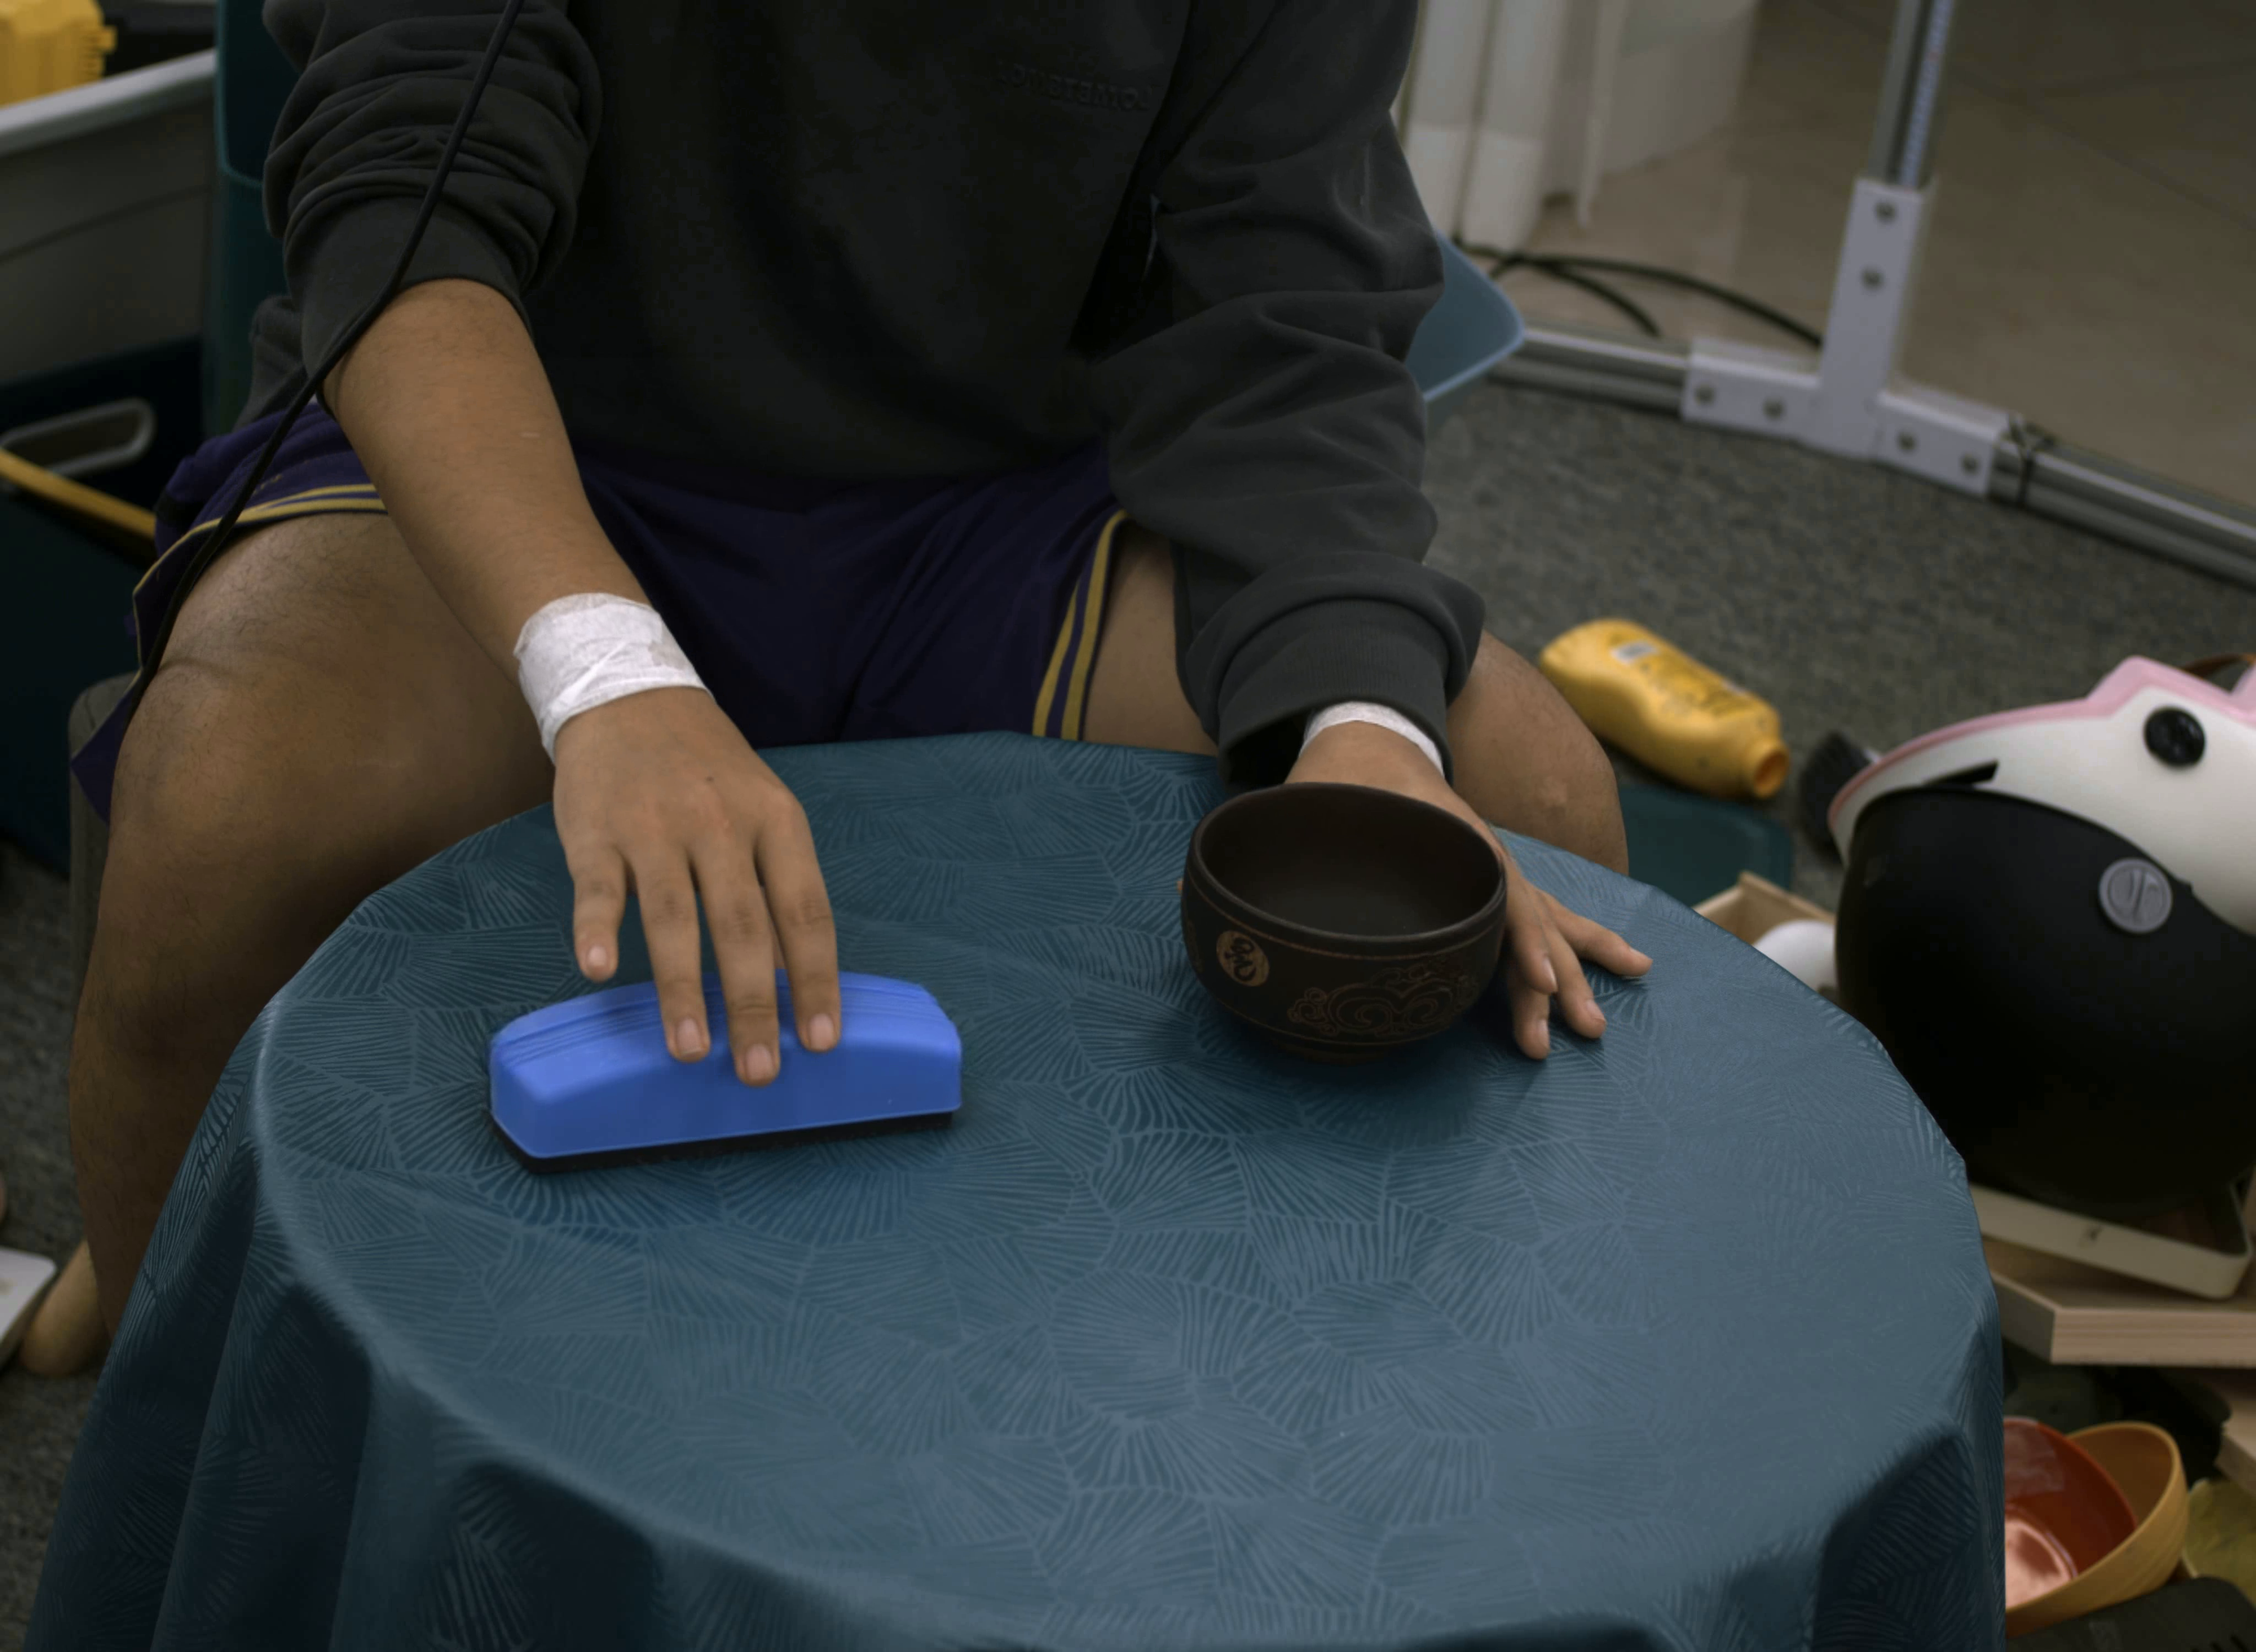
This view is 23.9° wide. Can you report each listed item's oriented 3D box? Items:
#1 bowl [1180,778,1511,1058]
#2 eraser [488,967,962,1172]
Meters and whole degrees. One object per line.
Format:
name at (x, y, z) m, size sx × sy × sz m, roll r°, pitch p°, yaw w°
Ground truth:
bowl at (0.076, 0.039, 1.901) m, size 0.117 × 0.069 × 0.119 m, roll 4°, pitch 28°, yaw -2°
eraser at (-0.135, 0.079, 1.808) m, size 0.161 × 0.047 × 0.054 m, roll -6°, pitch 32°, yaw -23°
